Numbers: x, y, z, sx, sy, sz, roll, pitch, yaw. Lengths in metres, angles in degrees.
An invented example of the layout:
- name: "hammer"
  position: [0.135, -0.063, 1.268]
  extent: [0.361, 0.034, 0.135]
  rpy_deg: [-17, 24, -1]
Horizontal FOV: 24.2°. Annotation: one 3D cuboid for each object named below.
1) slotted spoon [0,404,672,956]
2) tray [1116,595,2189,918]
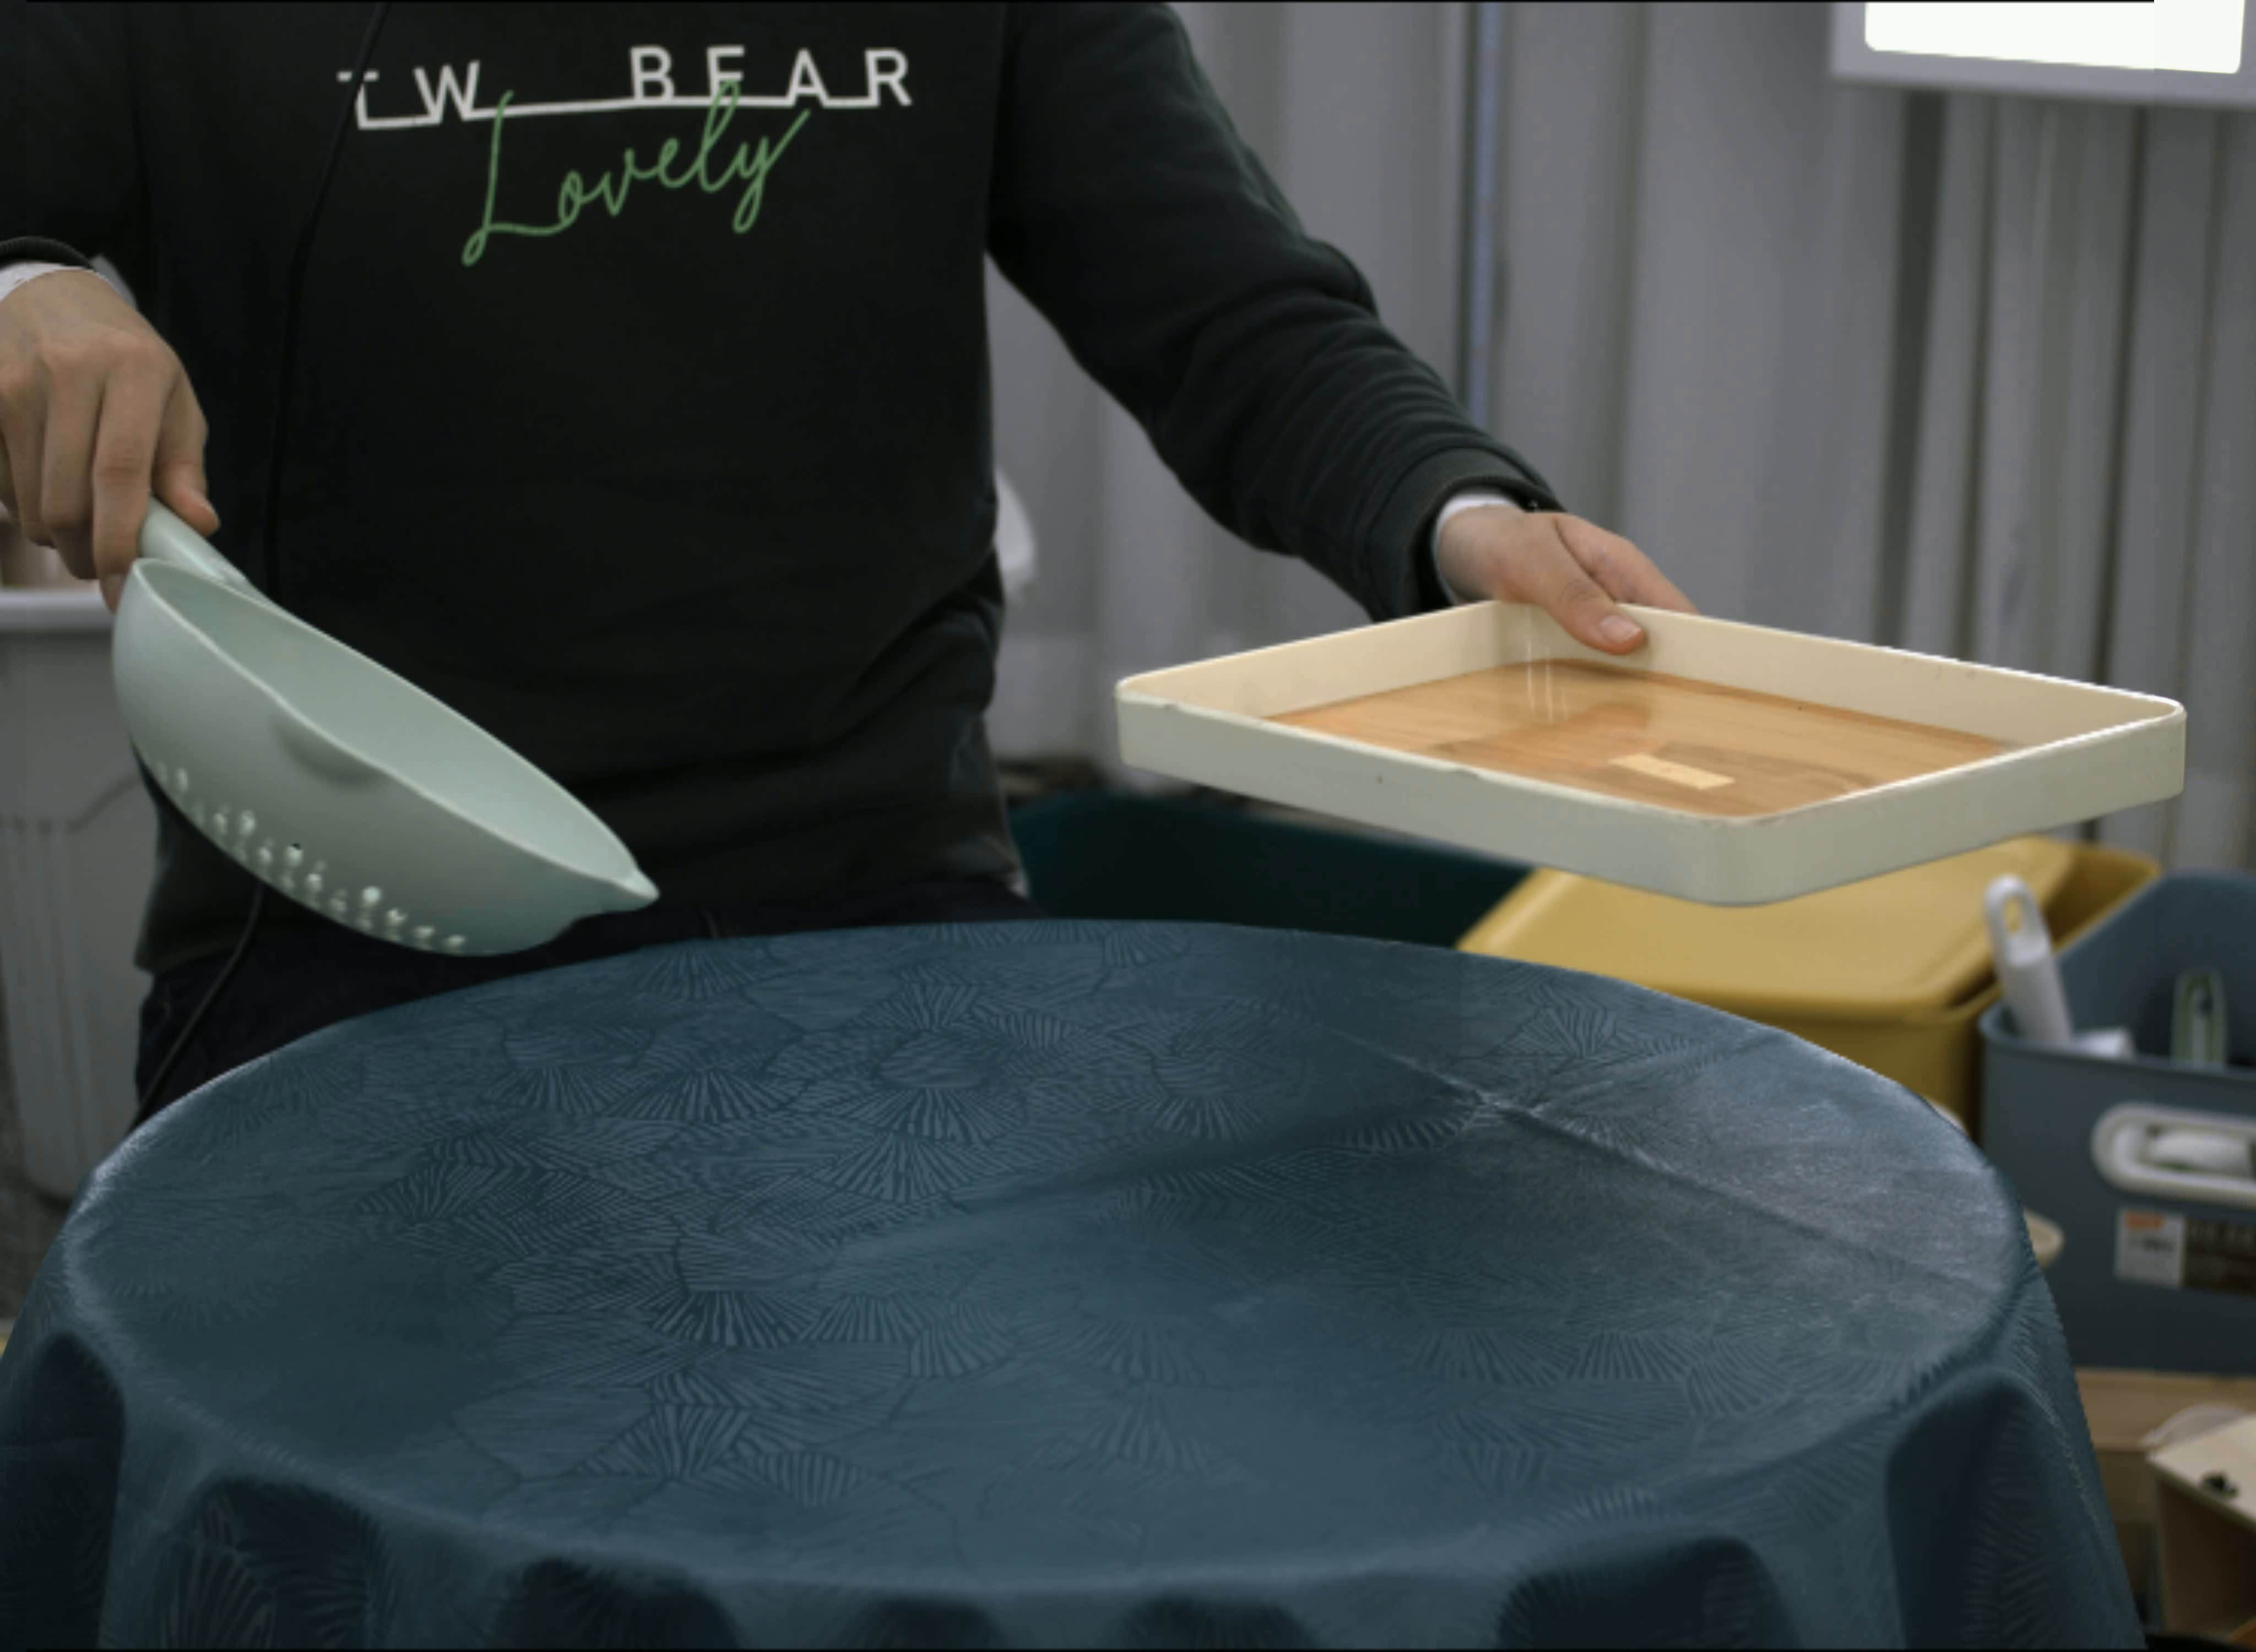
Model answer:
- name: "slotted spoon"
  position: [-0.269, -0.061, 1.570]
  extent: [0.171, 0.075, 0.354]
  rpy_deg: [30, 13, -44]
- name: "tray"
  position: [0.153, -0.025, 1.600]
  extent: [0.192, 0.027, 0.296]
  rpy_deg: [-13, 17, -35]
